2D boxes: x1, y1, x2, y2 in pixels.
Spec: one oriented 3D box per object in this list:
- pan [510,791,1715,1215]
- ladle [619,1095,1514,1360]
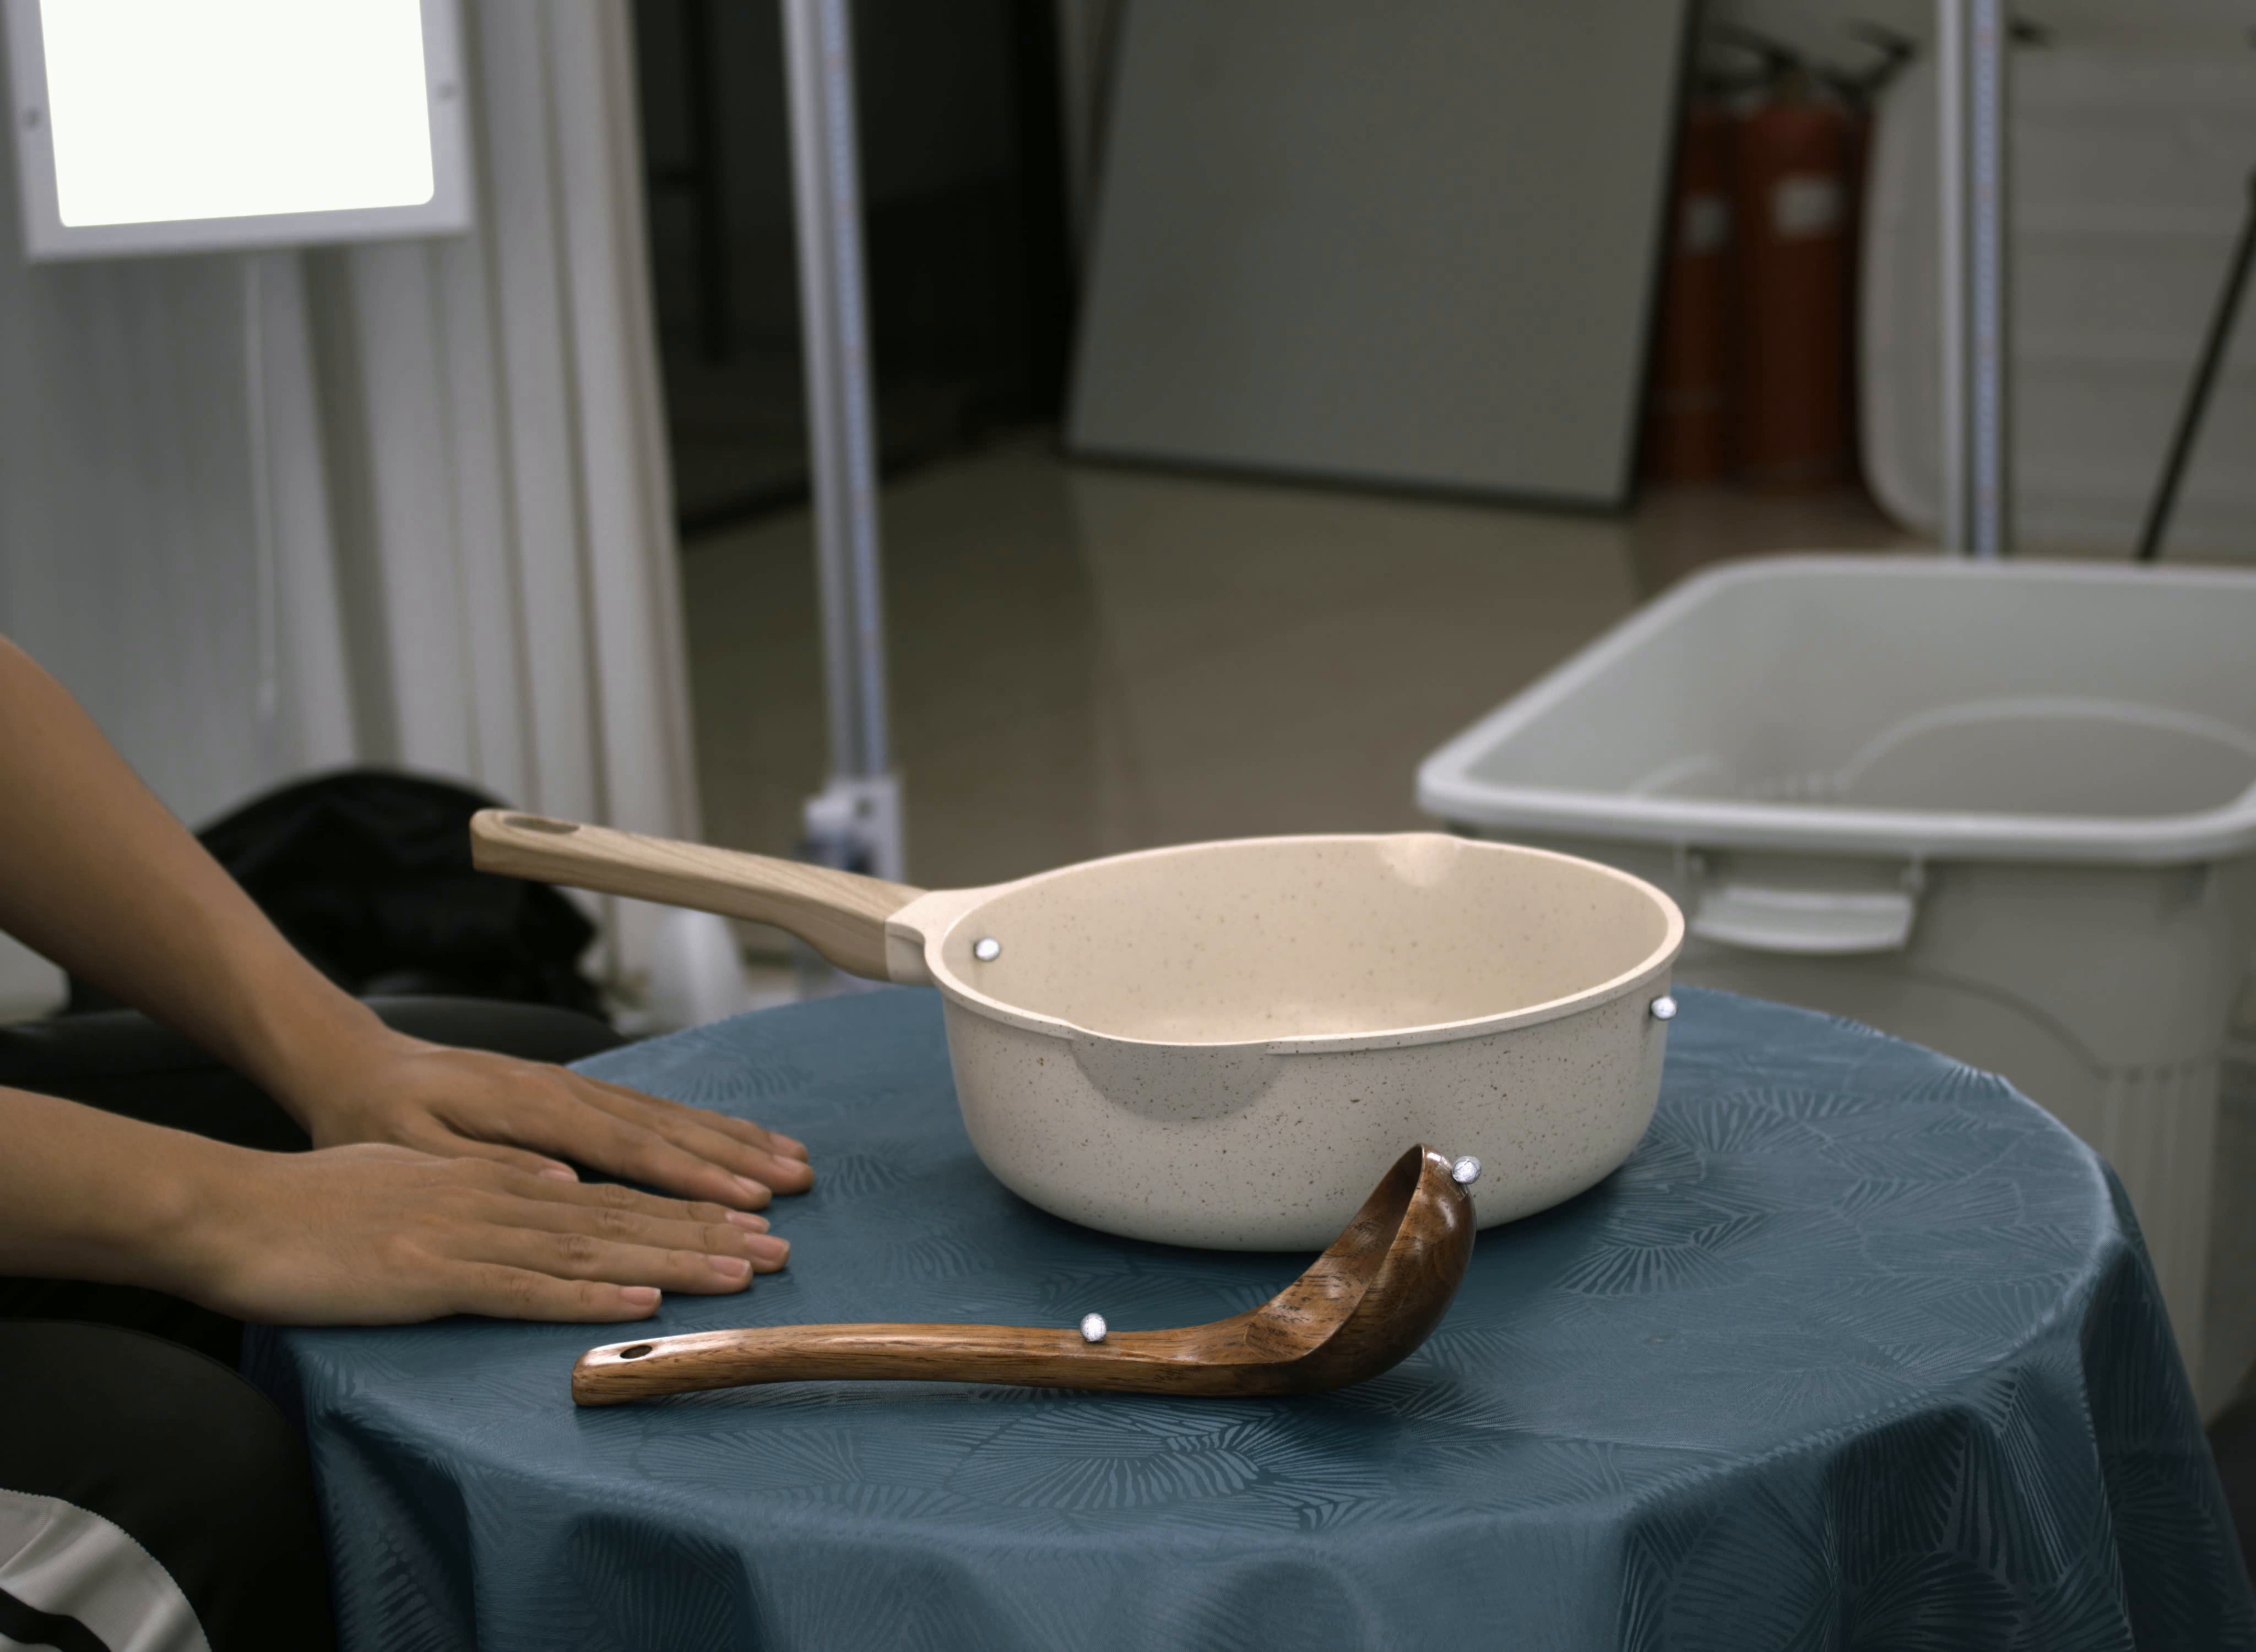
[{"bbox_3d":[-0.011,0.050,1.832,0.435,0.103,0.260,2,16,23],"label":"pan"},{"bbox_3d":[-0.021,0.120,1.591,0.272,0.077,0.081,-1,15,10],"label":"ladle"}]
